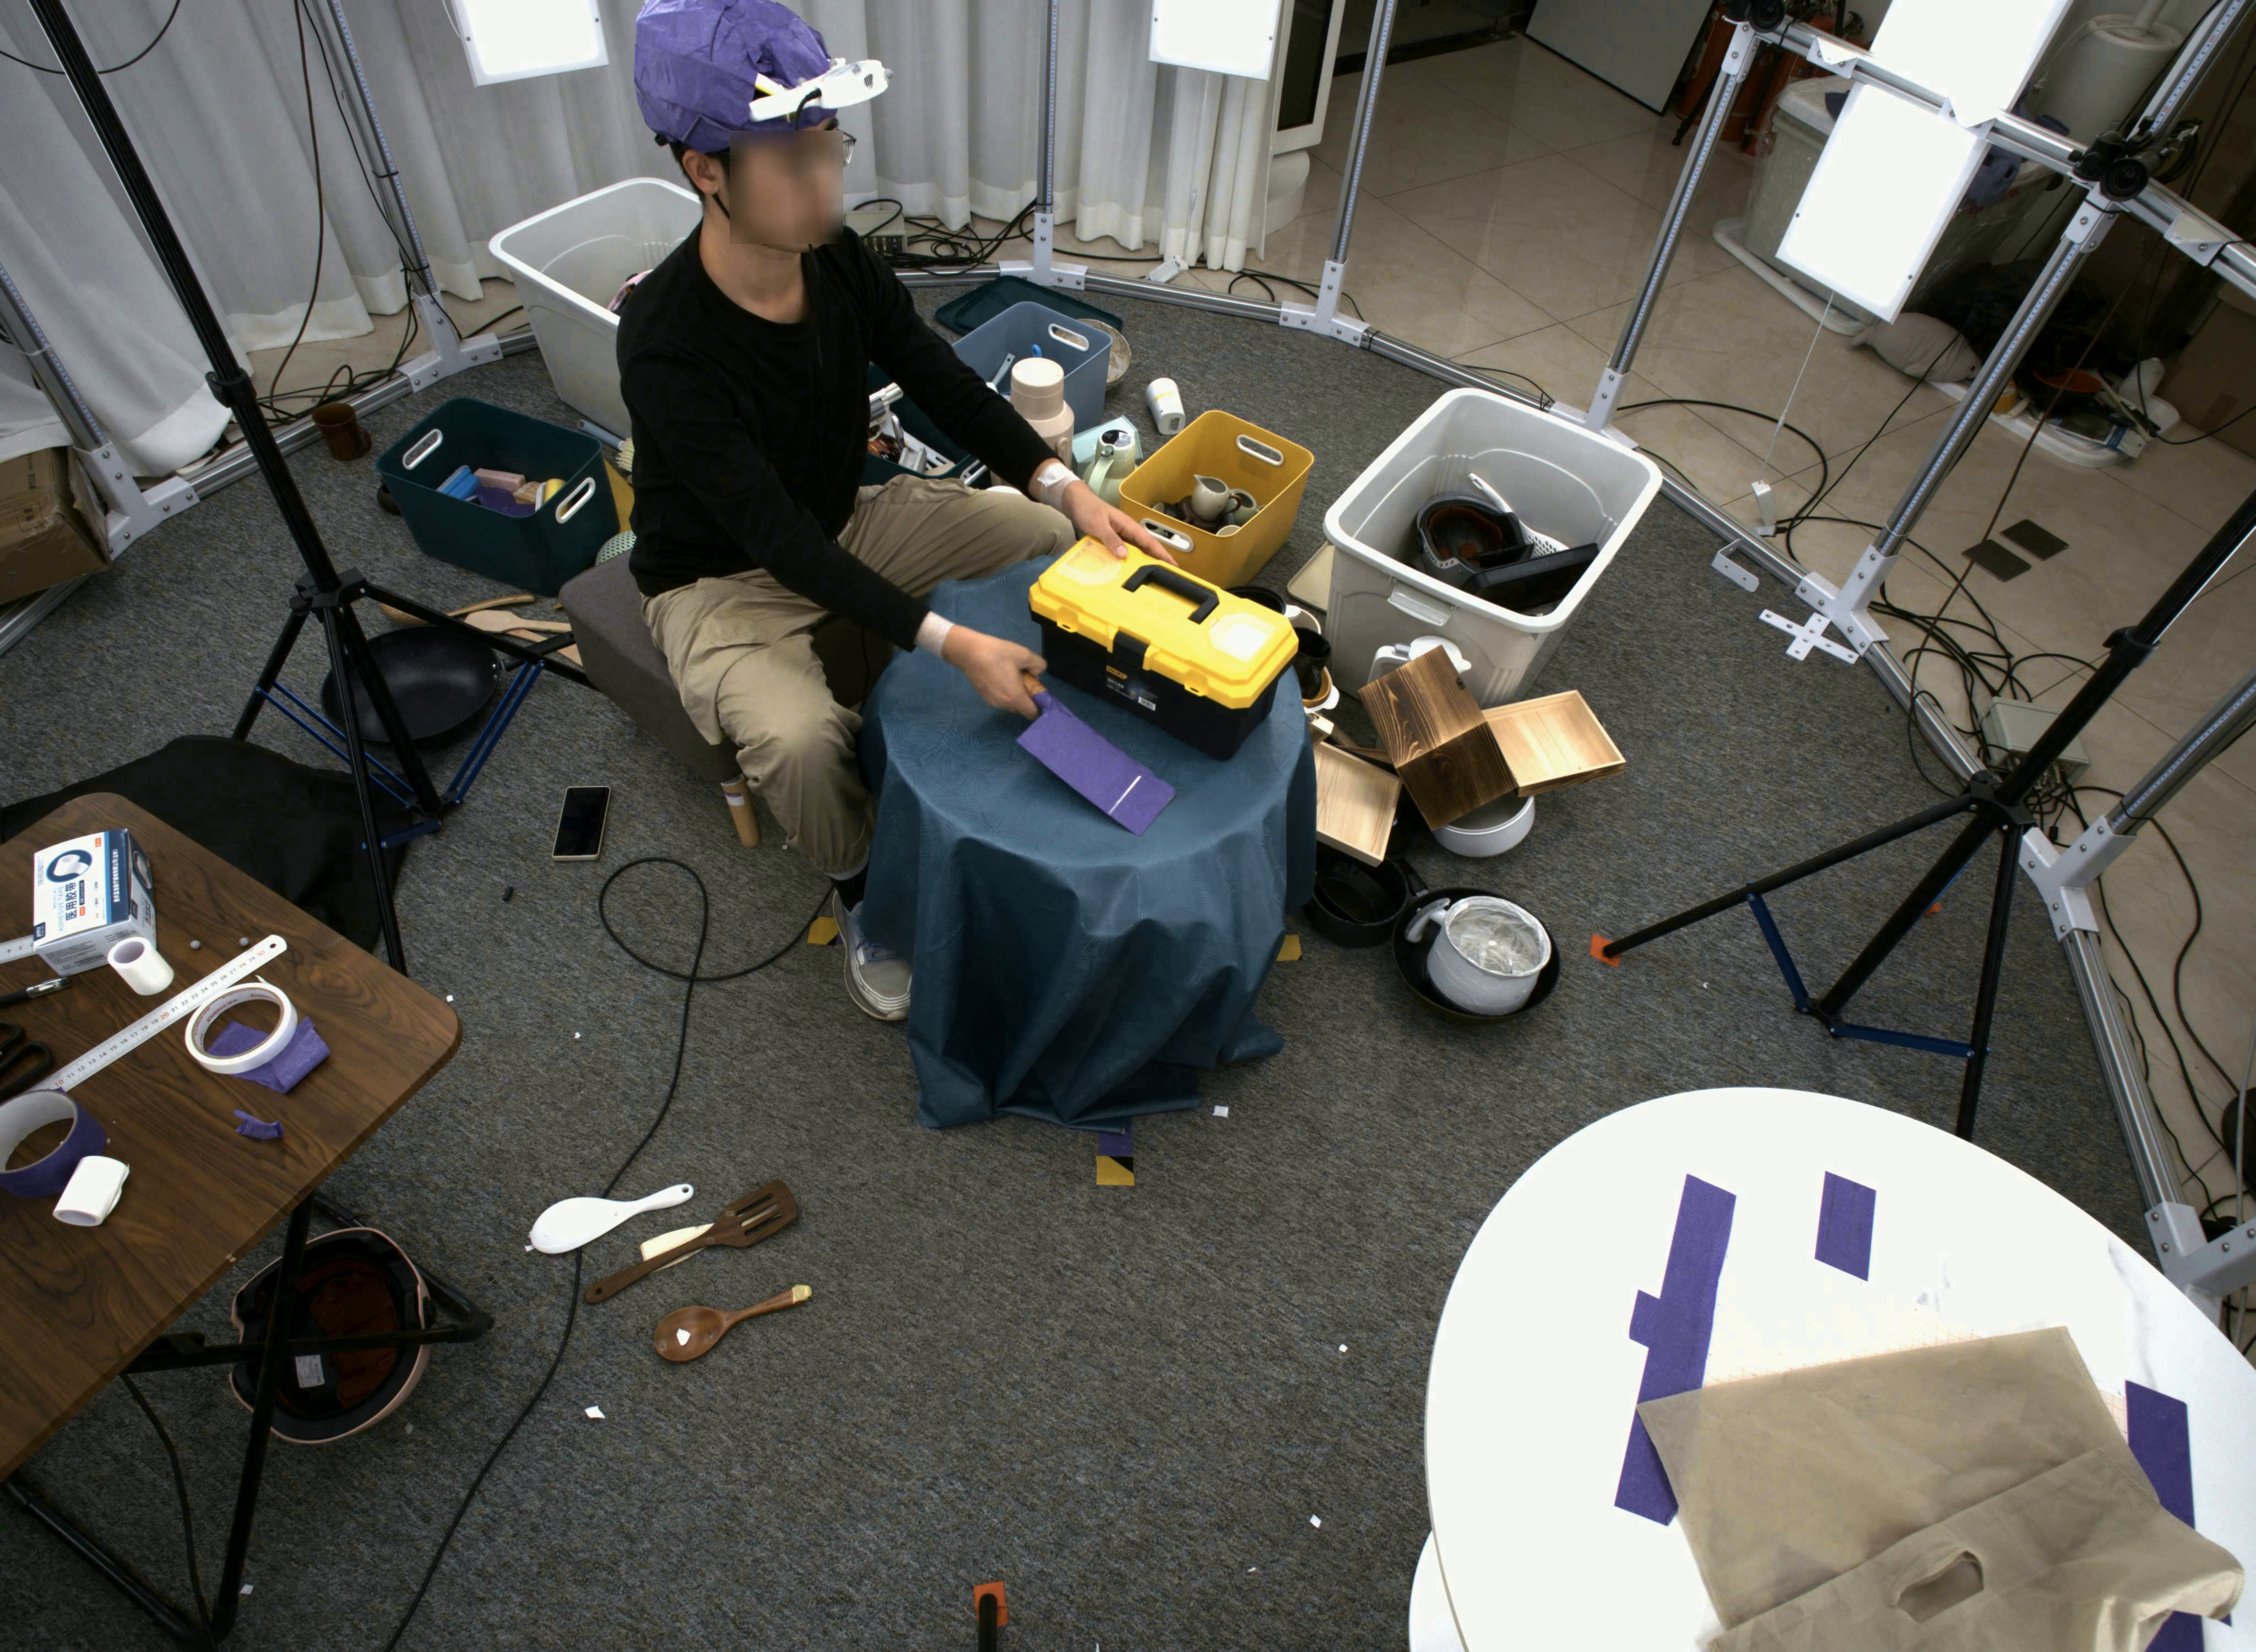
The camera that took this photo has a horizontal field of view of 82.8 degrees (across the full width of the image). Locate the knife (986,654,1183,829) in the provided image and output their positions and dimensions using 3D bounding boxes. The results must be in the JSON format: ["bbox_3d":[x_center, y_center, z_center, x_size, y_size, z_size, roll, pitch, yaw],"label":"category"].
[{"bbox_3d":[-0.076,-0.113,1.703,0.317,0.031,0.105,36,56,9],"label":"knife"}]

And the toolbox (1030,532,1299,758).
[{"bbox_3d":[0.043,-0.249,1.778,0.355,0.168,0.184,29,53,20],"label":"toolbox"}]
